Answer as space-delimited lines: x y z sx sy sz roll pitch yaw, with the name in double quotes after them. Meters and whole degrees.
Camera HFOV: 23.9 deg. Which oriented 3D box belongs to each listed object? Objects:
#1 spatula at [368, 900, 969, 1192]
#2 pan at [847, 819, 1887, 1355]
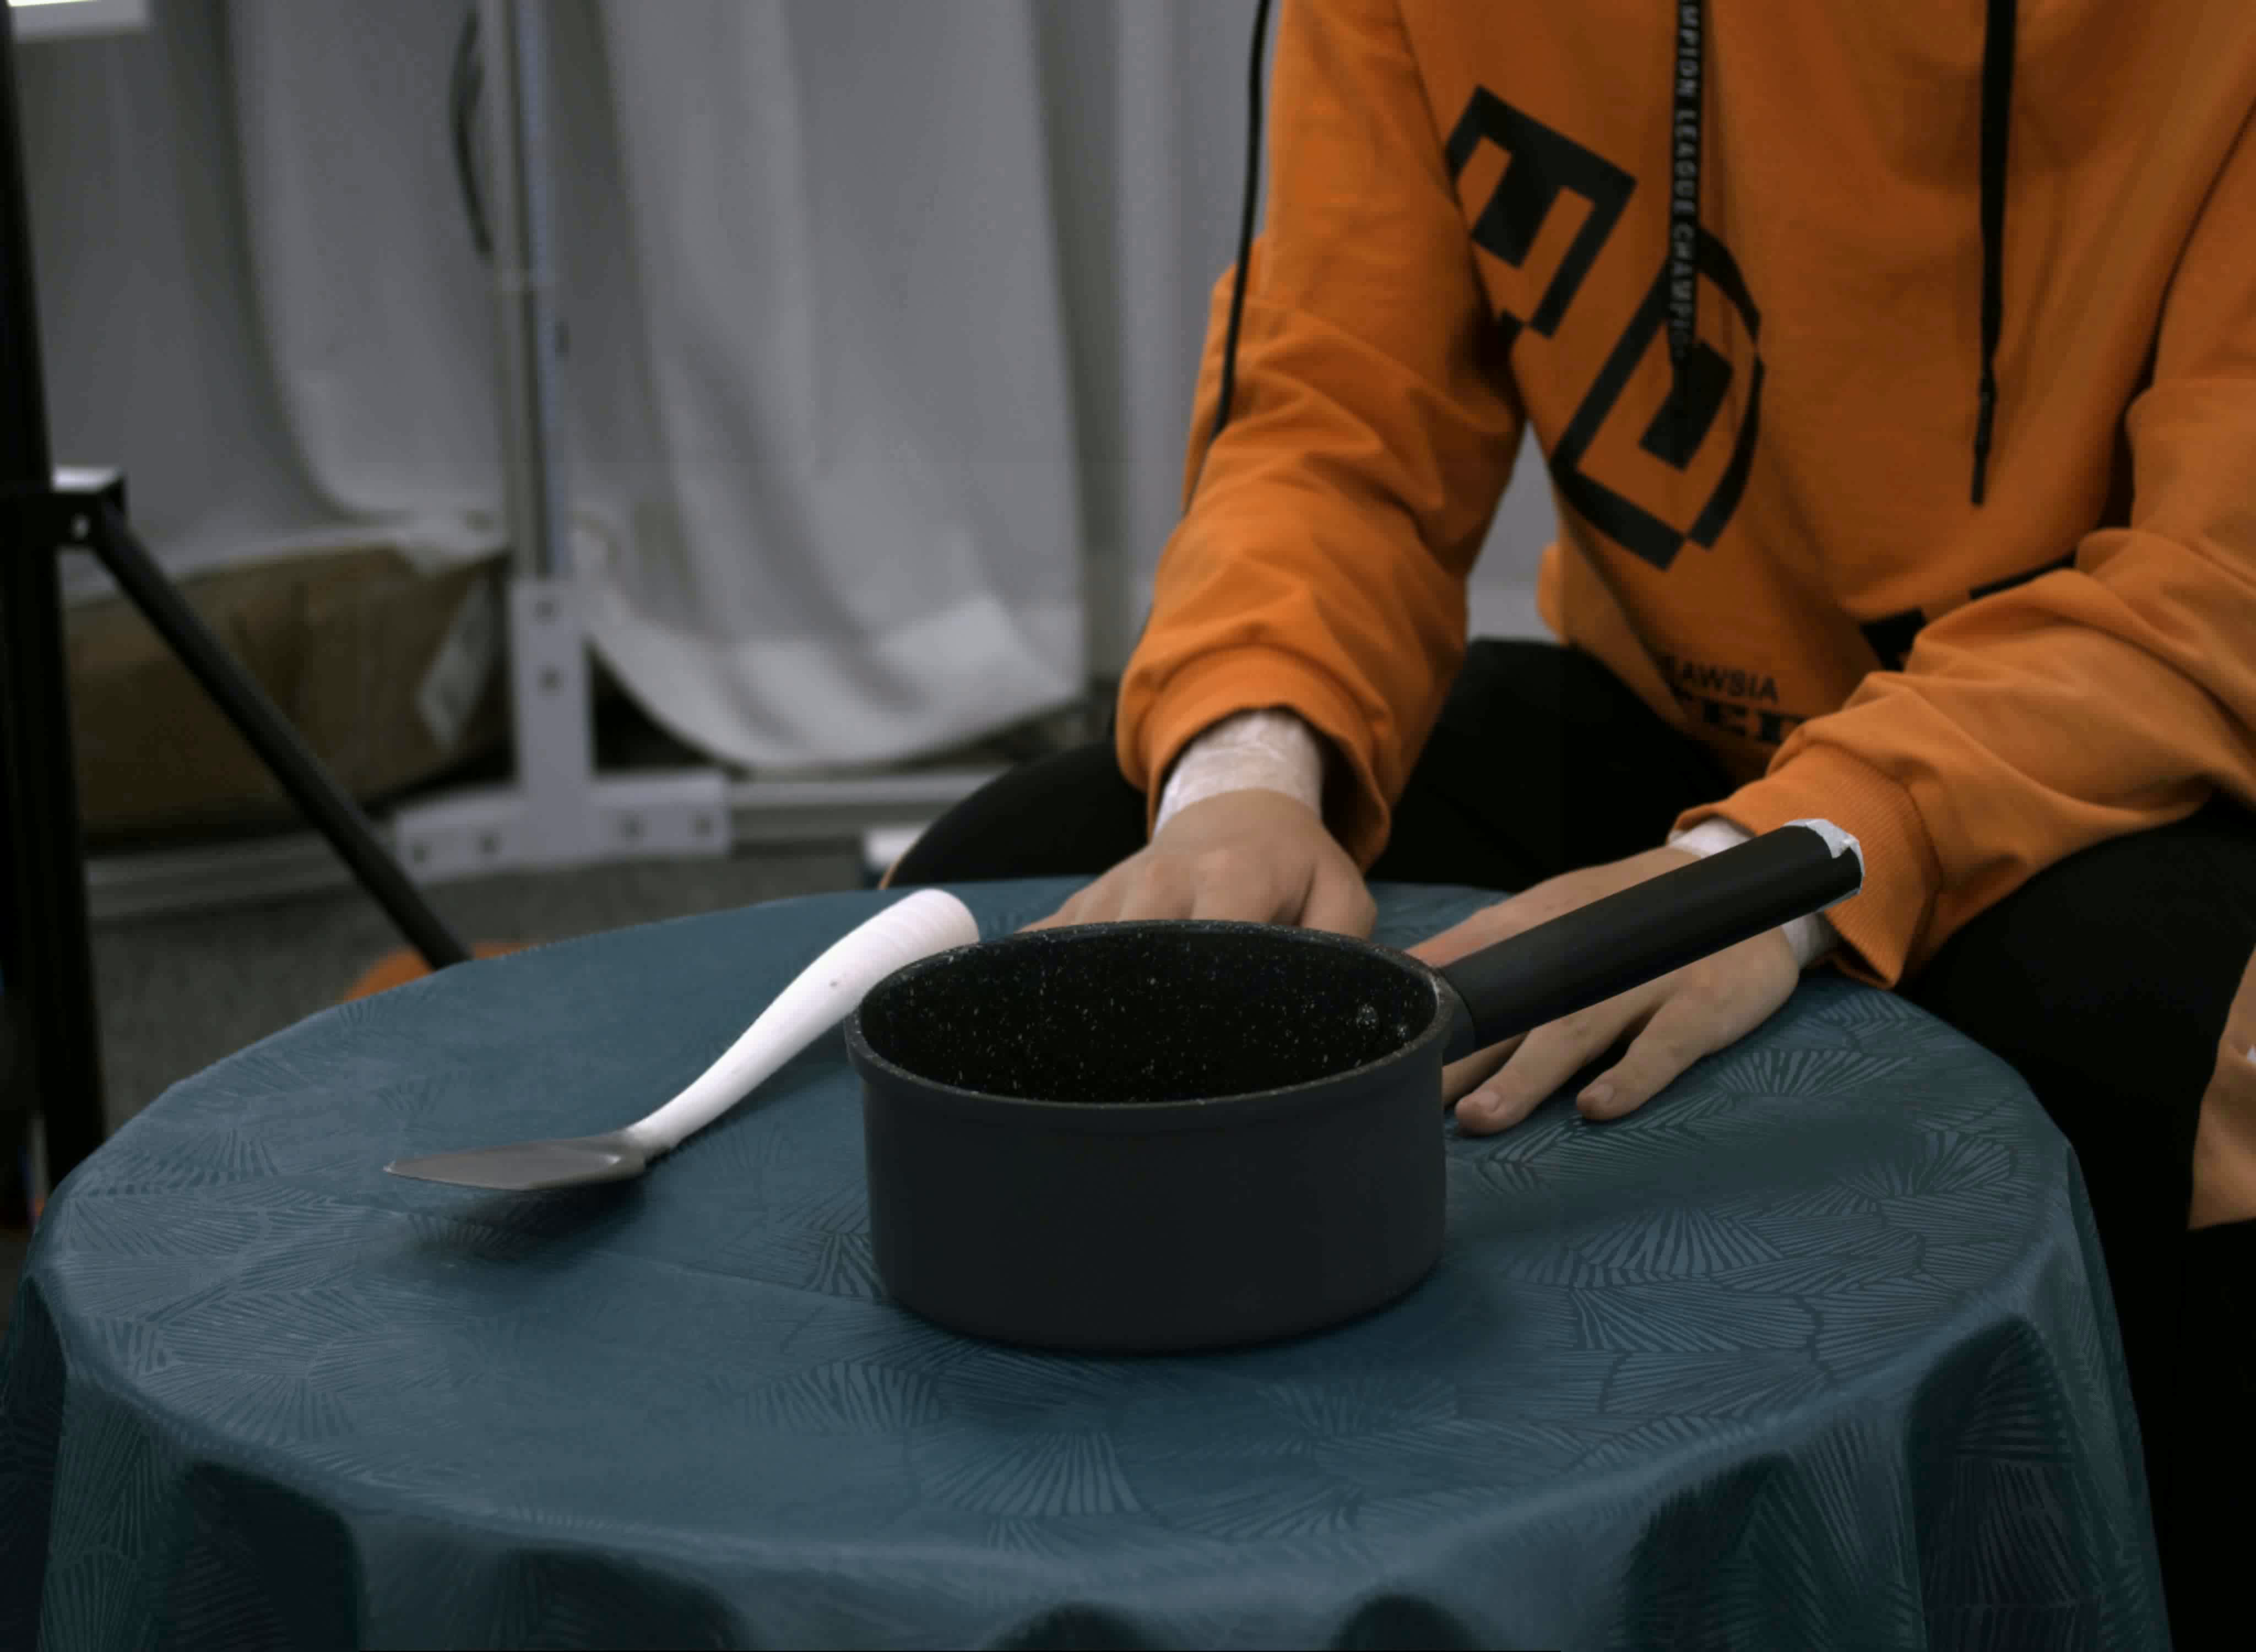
-0.131 0.075 1.640 0.059 0.032 0.283 11 19 26 "spatula"
0.077 0.070 1.524 0.322 0.086 0.175 -12 19 -24 "pan"
